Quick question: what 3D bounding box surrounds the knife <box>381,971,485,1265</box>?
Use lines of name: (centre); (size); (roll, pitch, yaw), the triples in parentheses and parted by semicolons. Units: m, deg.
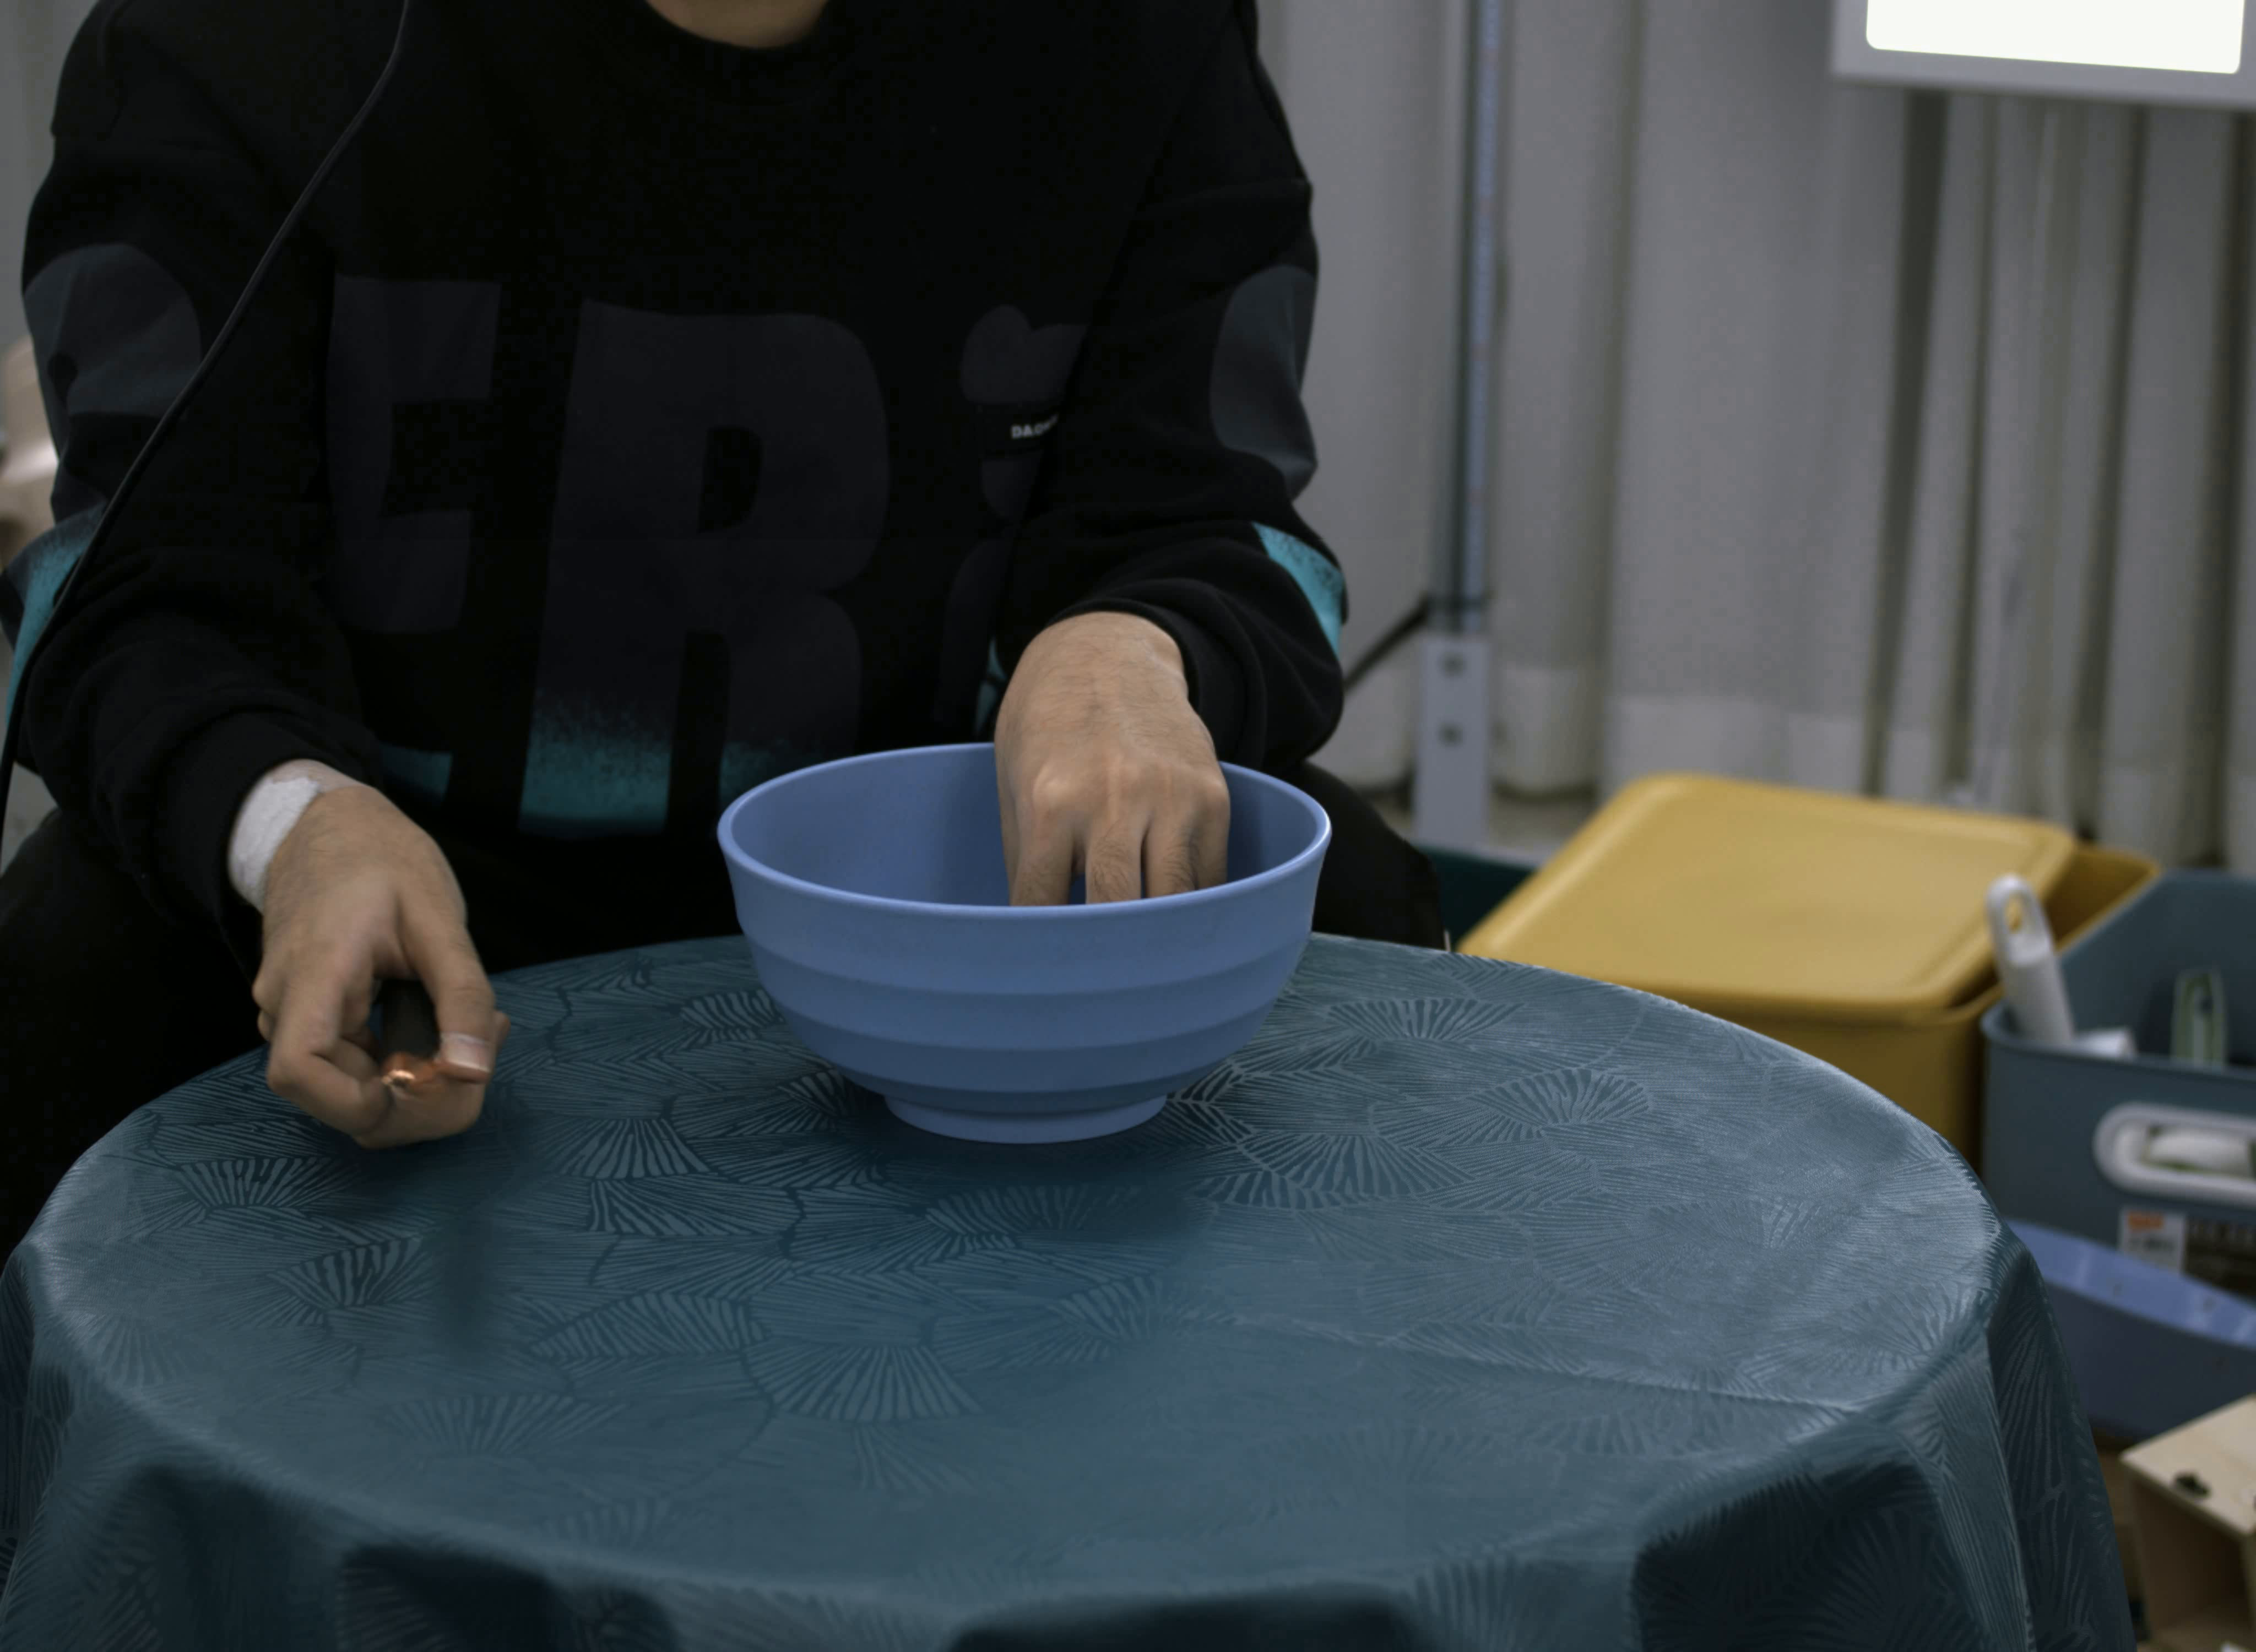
knife: (-0.209, 0.086, 1.579); (0.026, 0.017, 0.223); (26, 12, -17)

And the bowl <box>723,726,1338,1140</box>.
bowl: (-0.032, 0.041, 1.691); (0.196, 0.096, 0.195); (2, 18, 0)
